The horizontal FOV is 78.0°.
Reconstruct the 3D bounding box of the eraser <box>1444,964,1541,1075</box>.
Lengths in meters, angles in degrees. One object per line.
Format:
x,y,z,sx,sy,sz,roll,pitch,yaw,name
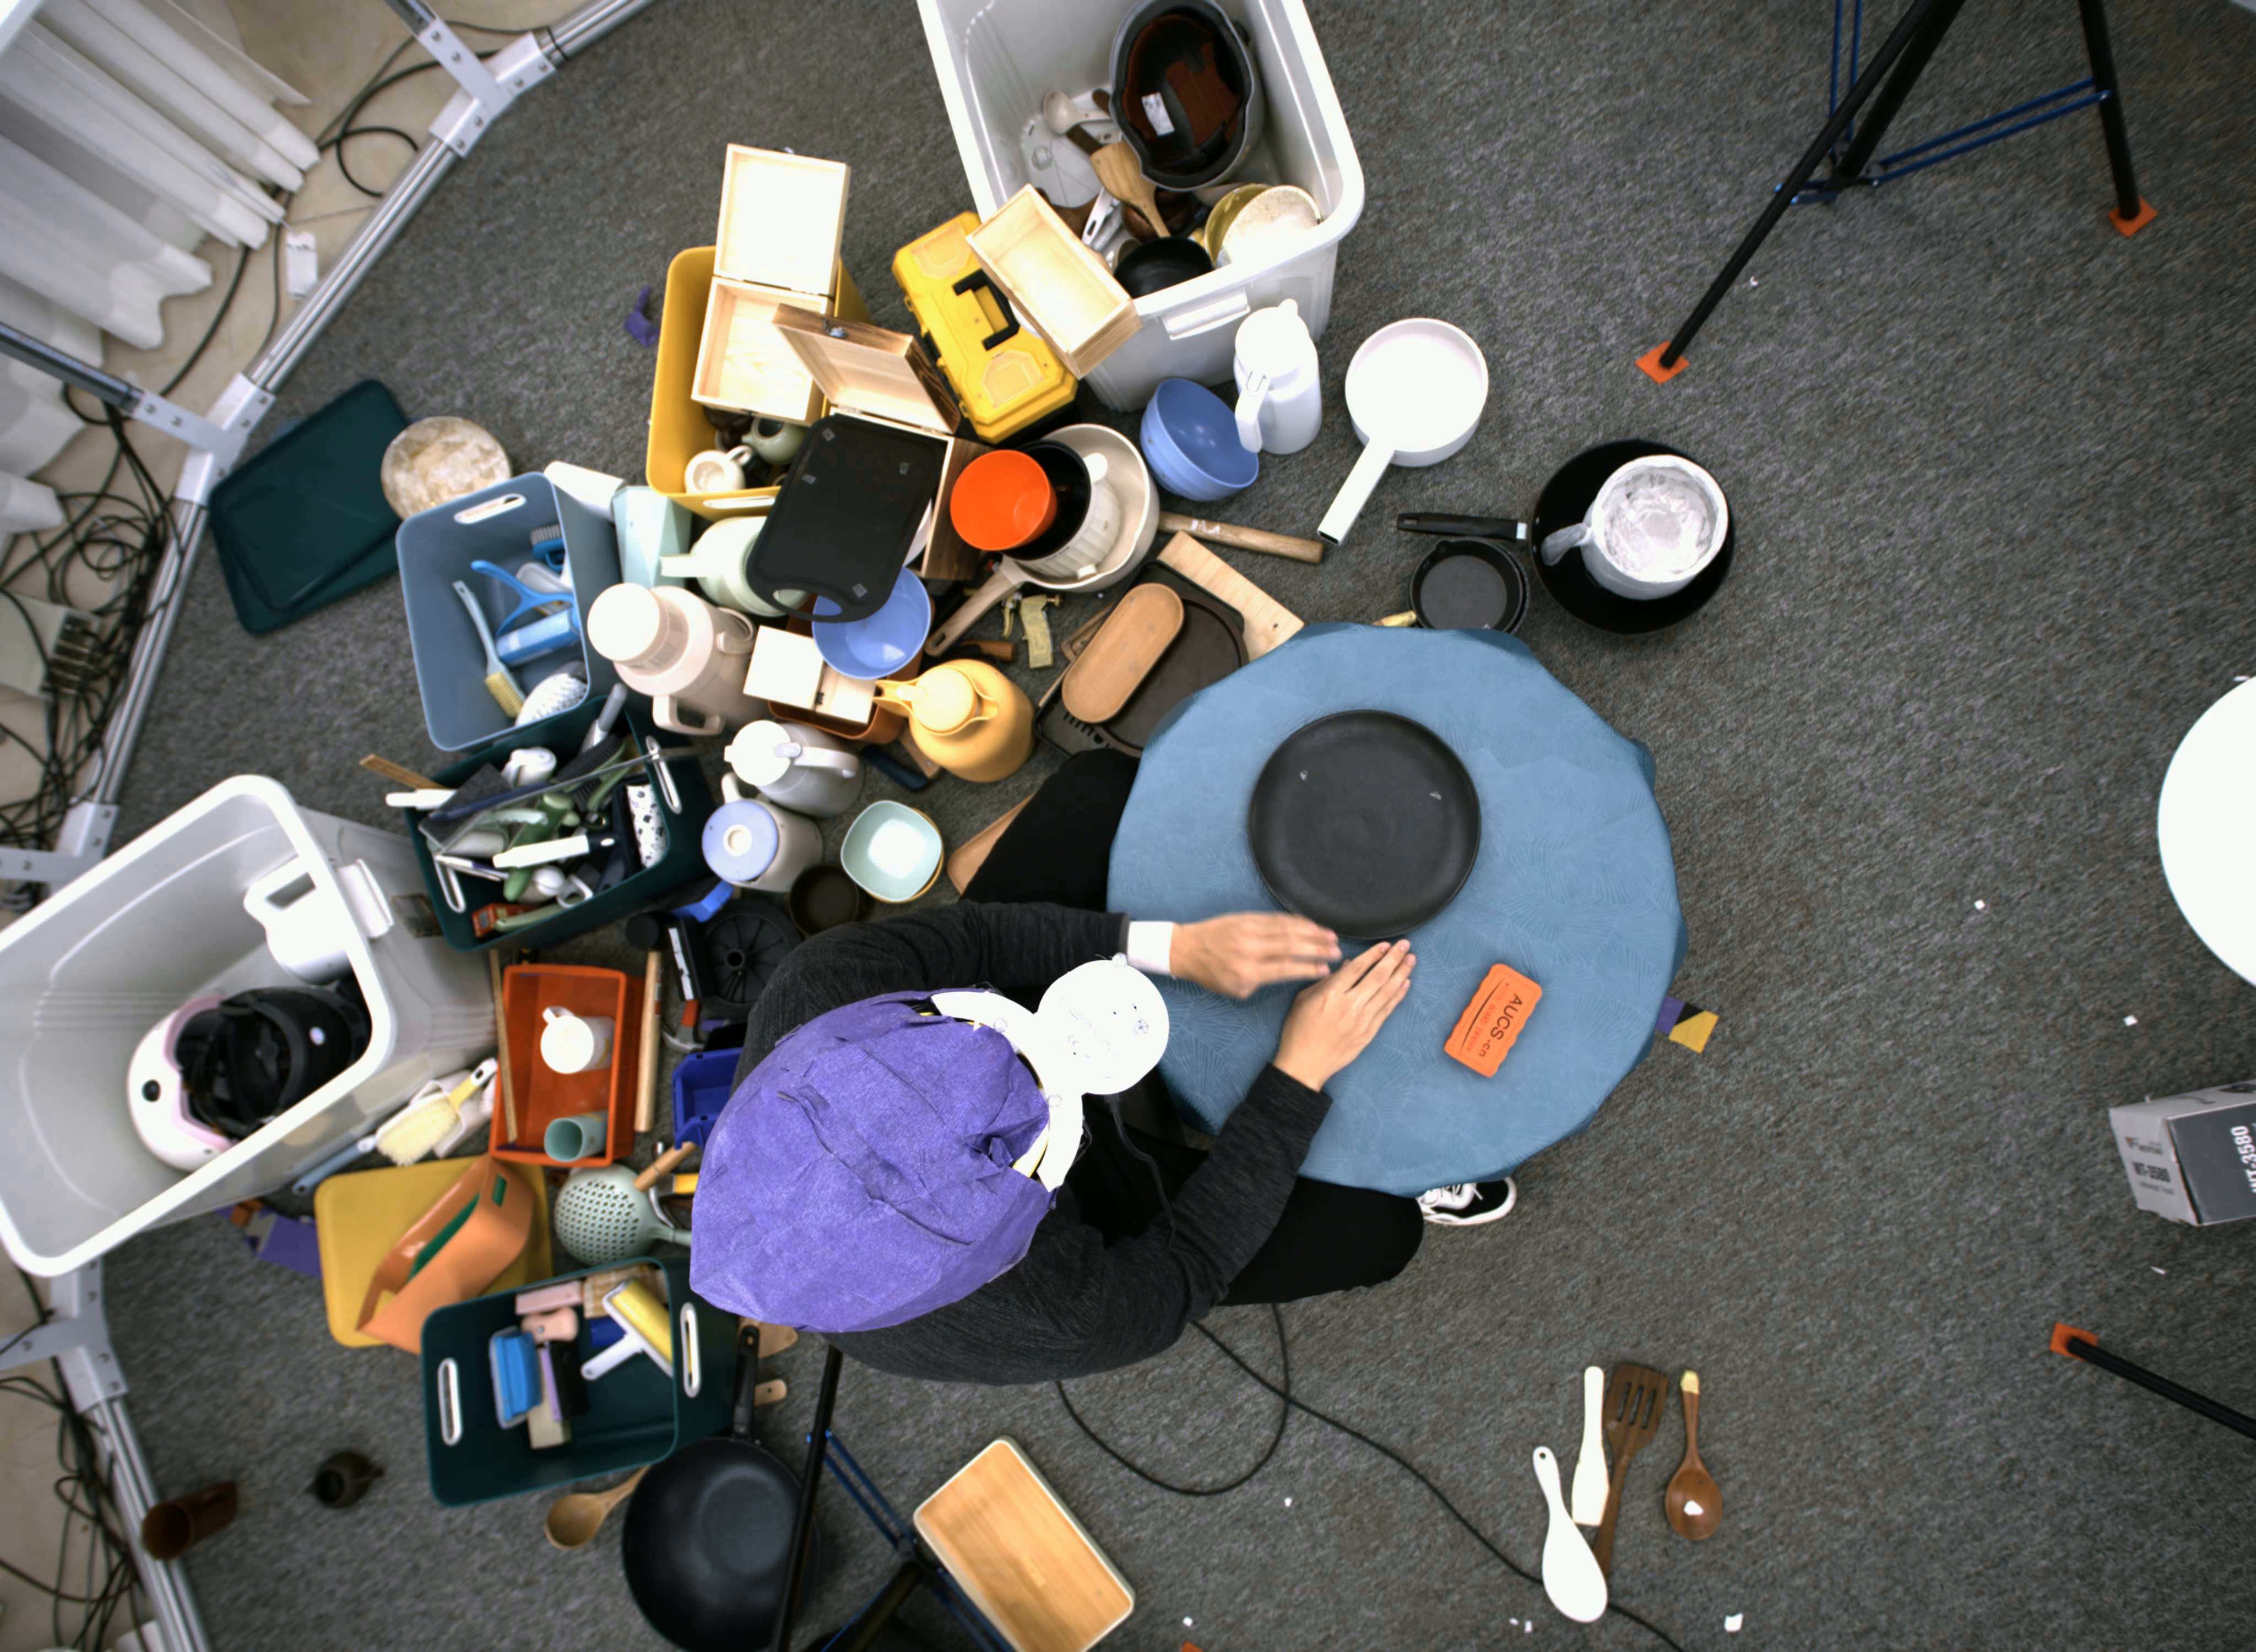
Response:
0.376,0.196,1.421,0.059,0.023,0.108,33,93,13,eraser

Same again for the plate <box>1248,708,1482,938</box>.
0.248,-0.004,1.457,0.245,0.023,0.243,-1,87,10,plate
